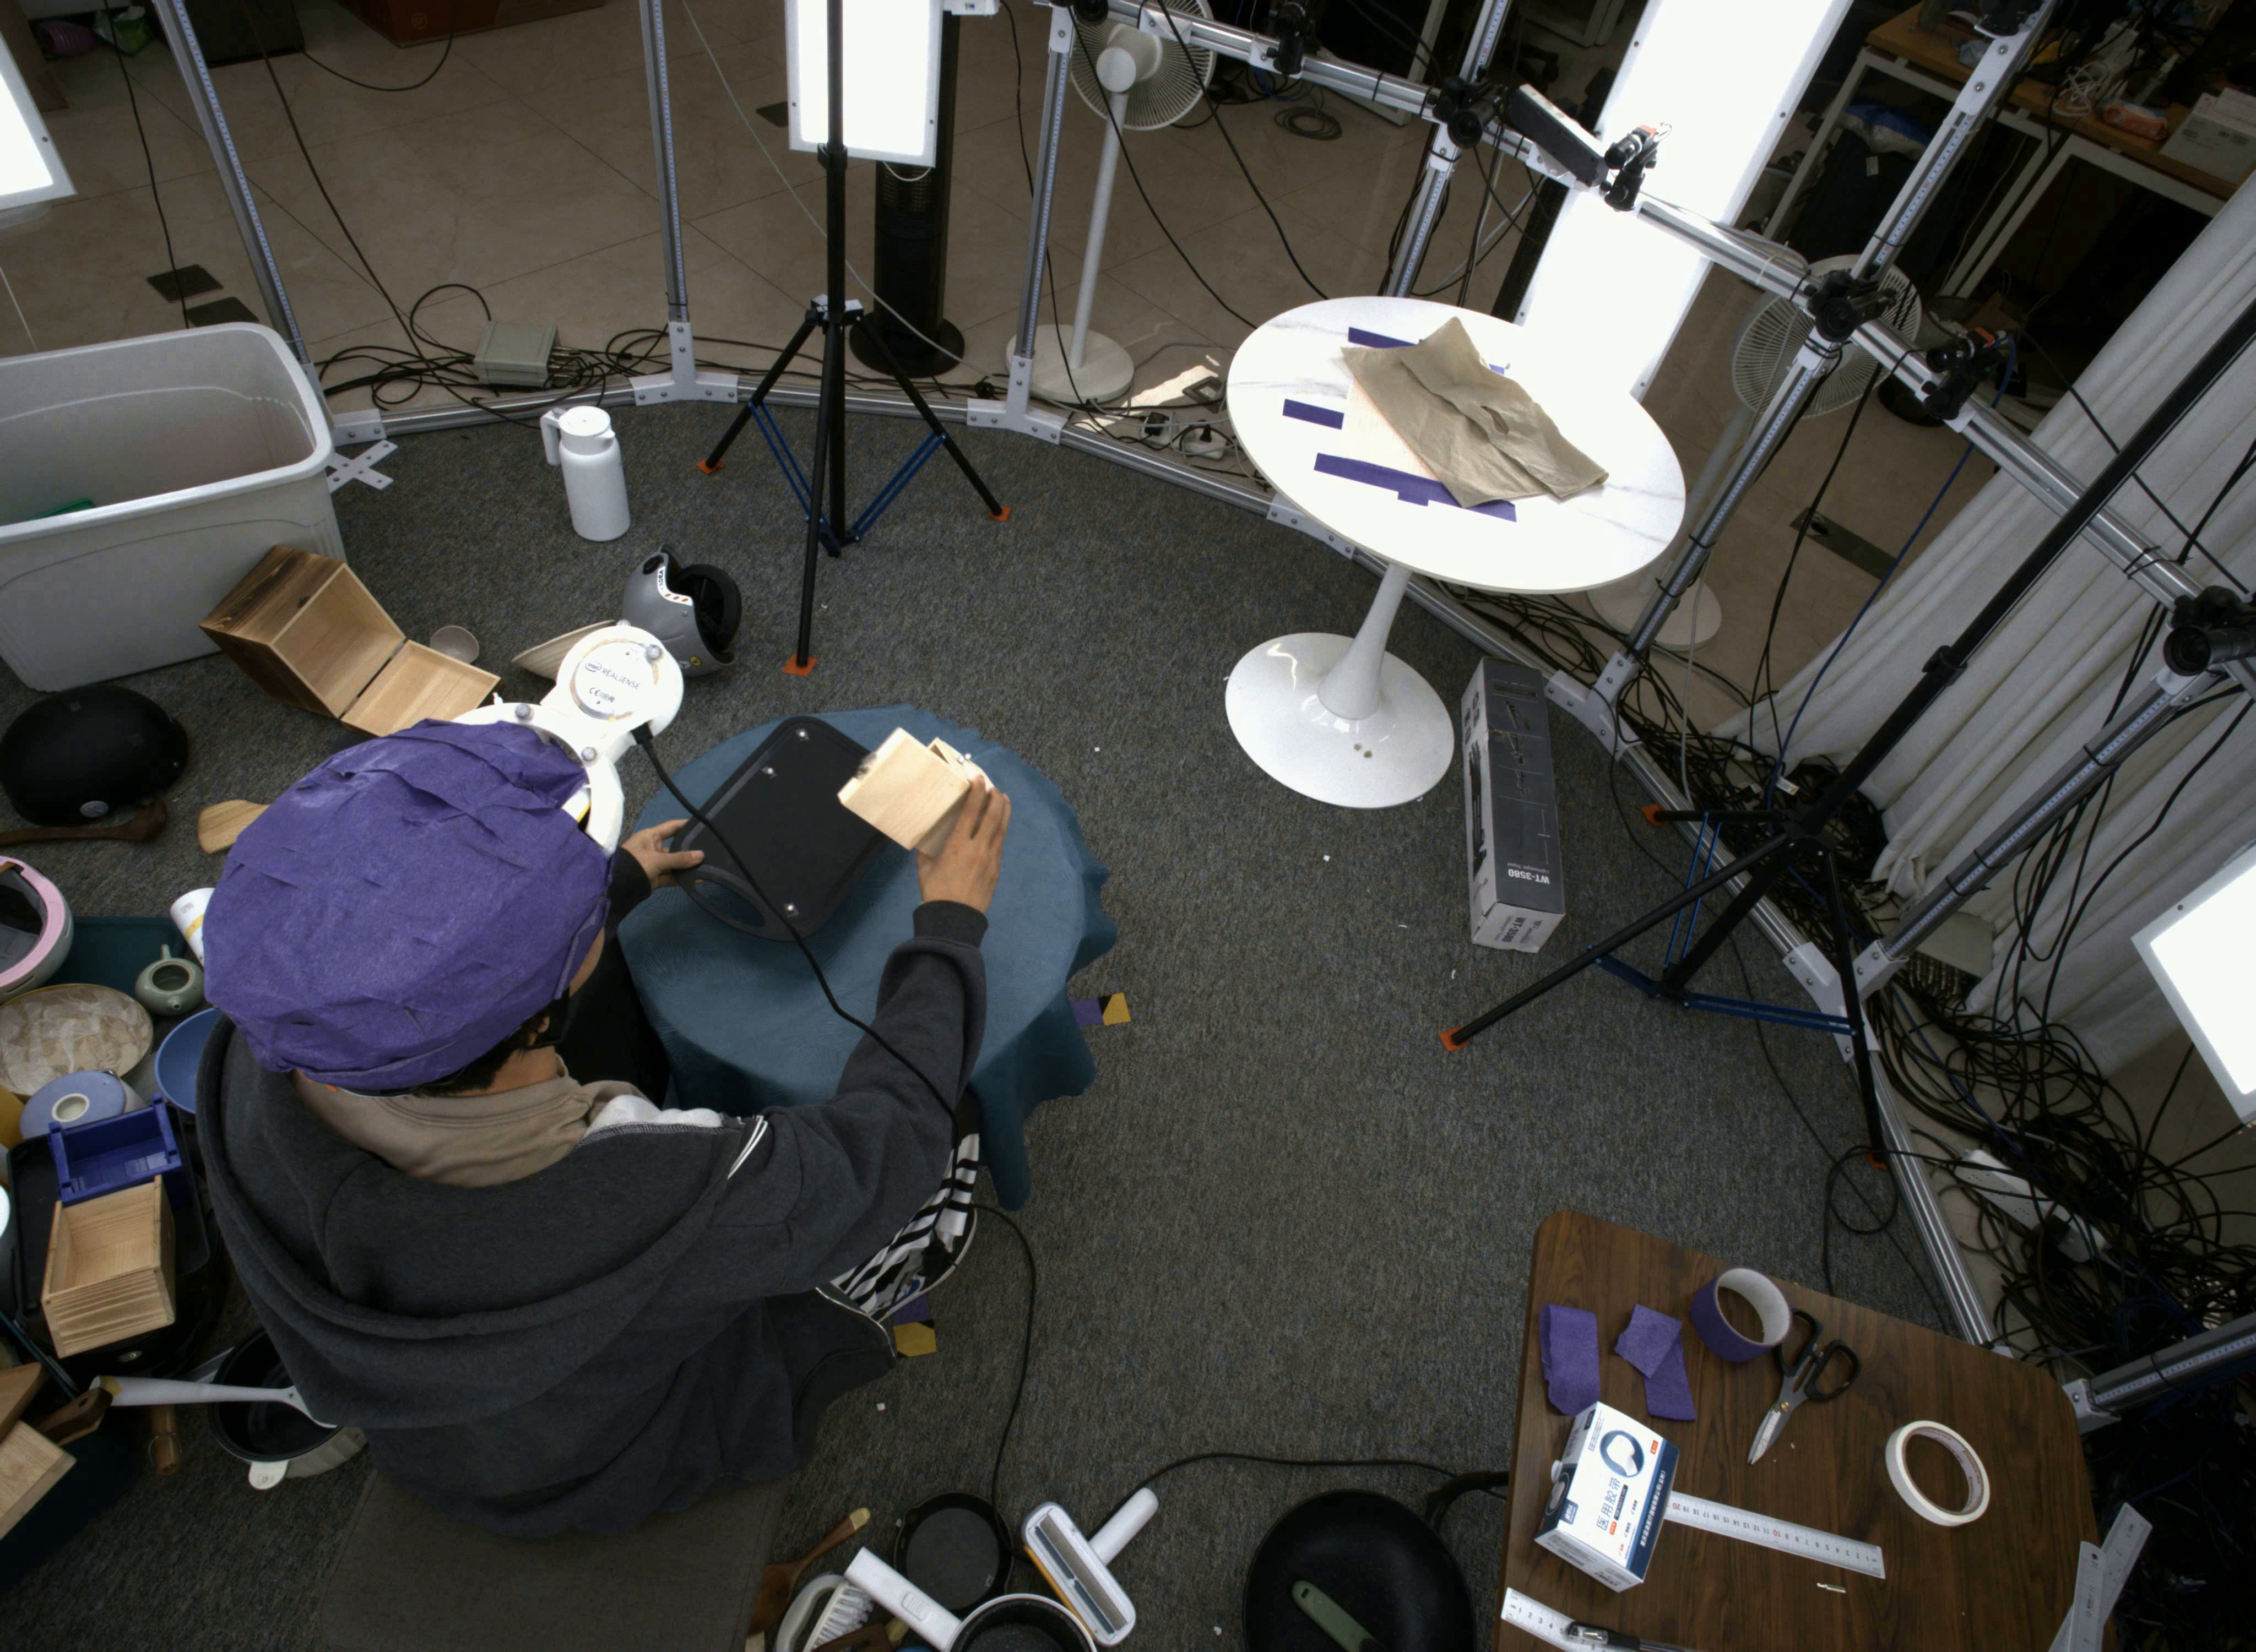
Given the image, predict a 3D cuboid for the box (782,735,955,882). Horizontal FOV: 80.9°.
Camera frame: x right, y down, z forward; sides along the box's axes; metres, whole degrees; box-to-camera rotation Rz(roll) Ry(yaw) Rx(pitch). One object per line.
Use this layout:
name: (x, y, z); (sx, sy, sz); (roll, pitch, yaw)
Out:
box: (-0.300, -0.036, 1.445); (0.103, 0.191, 0.129); (-48, 45, 3)

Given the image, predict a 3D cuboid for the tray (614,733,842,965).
tray: (-0.478, 0.024, 1.590); (0.211, 0.010, 0.323); (32, 50, -5)
